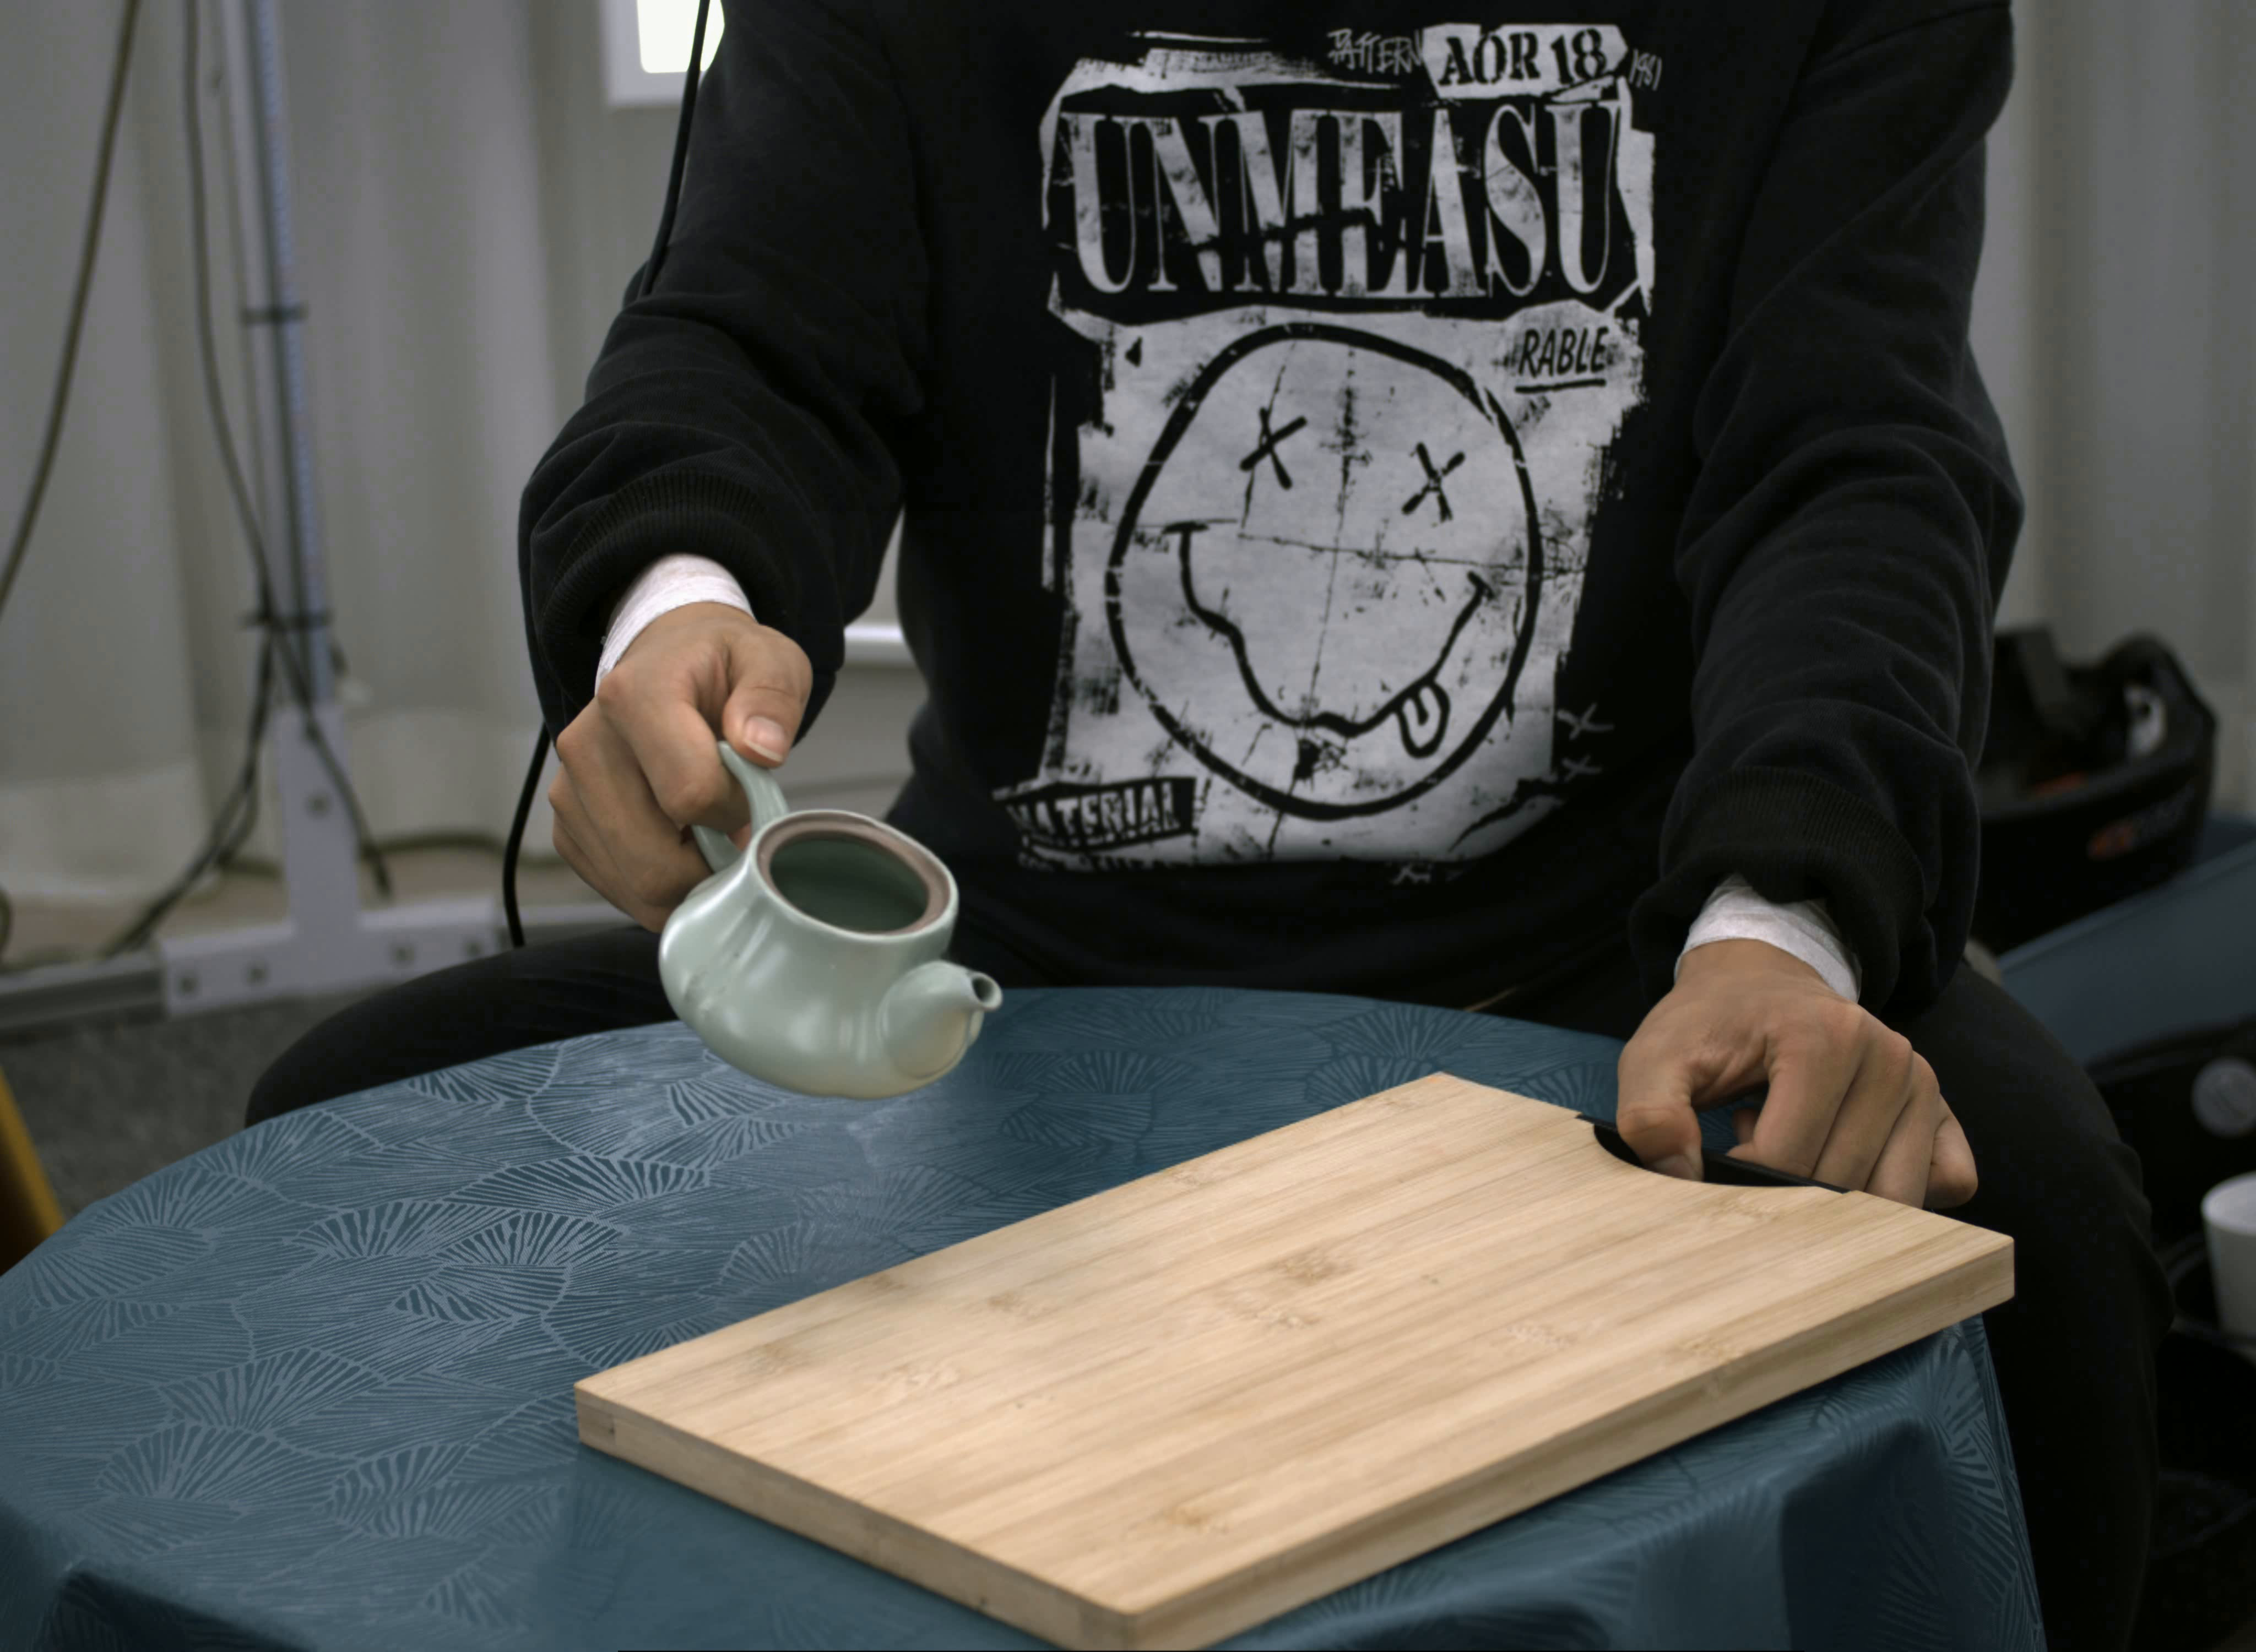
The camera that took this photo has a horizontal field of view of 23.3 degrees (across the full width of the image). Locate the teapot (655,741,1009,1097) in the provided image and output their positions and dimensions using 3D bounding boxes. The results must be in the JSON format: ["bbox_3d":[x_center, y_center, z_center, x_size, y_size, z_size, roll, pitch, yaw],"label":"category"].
[{"bbox_3d":[-0.089,0.031,1.581,0.096,0.061,0.138,-19,48,-41],"label":"teapot"}]

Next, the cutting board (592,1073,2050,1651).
[{"bbox_3d":[0.054,0.145,1.545,0.348,0.023,0.252,-17,21,-39],"label":"cutting board"}]
